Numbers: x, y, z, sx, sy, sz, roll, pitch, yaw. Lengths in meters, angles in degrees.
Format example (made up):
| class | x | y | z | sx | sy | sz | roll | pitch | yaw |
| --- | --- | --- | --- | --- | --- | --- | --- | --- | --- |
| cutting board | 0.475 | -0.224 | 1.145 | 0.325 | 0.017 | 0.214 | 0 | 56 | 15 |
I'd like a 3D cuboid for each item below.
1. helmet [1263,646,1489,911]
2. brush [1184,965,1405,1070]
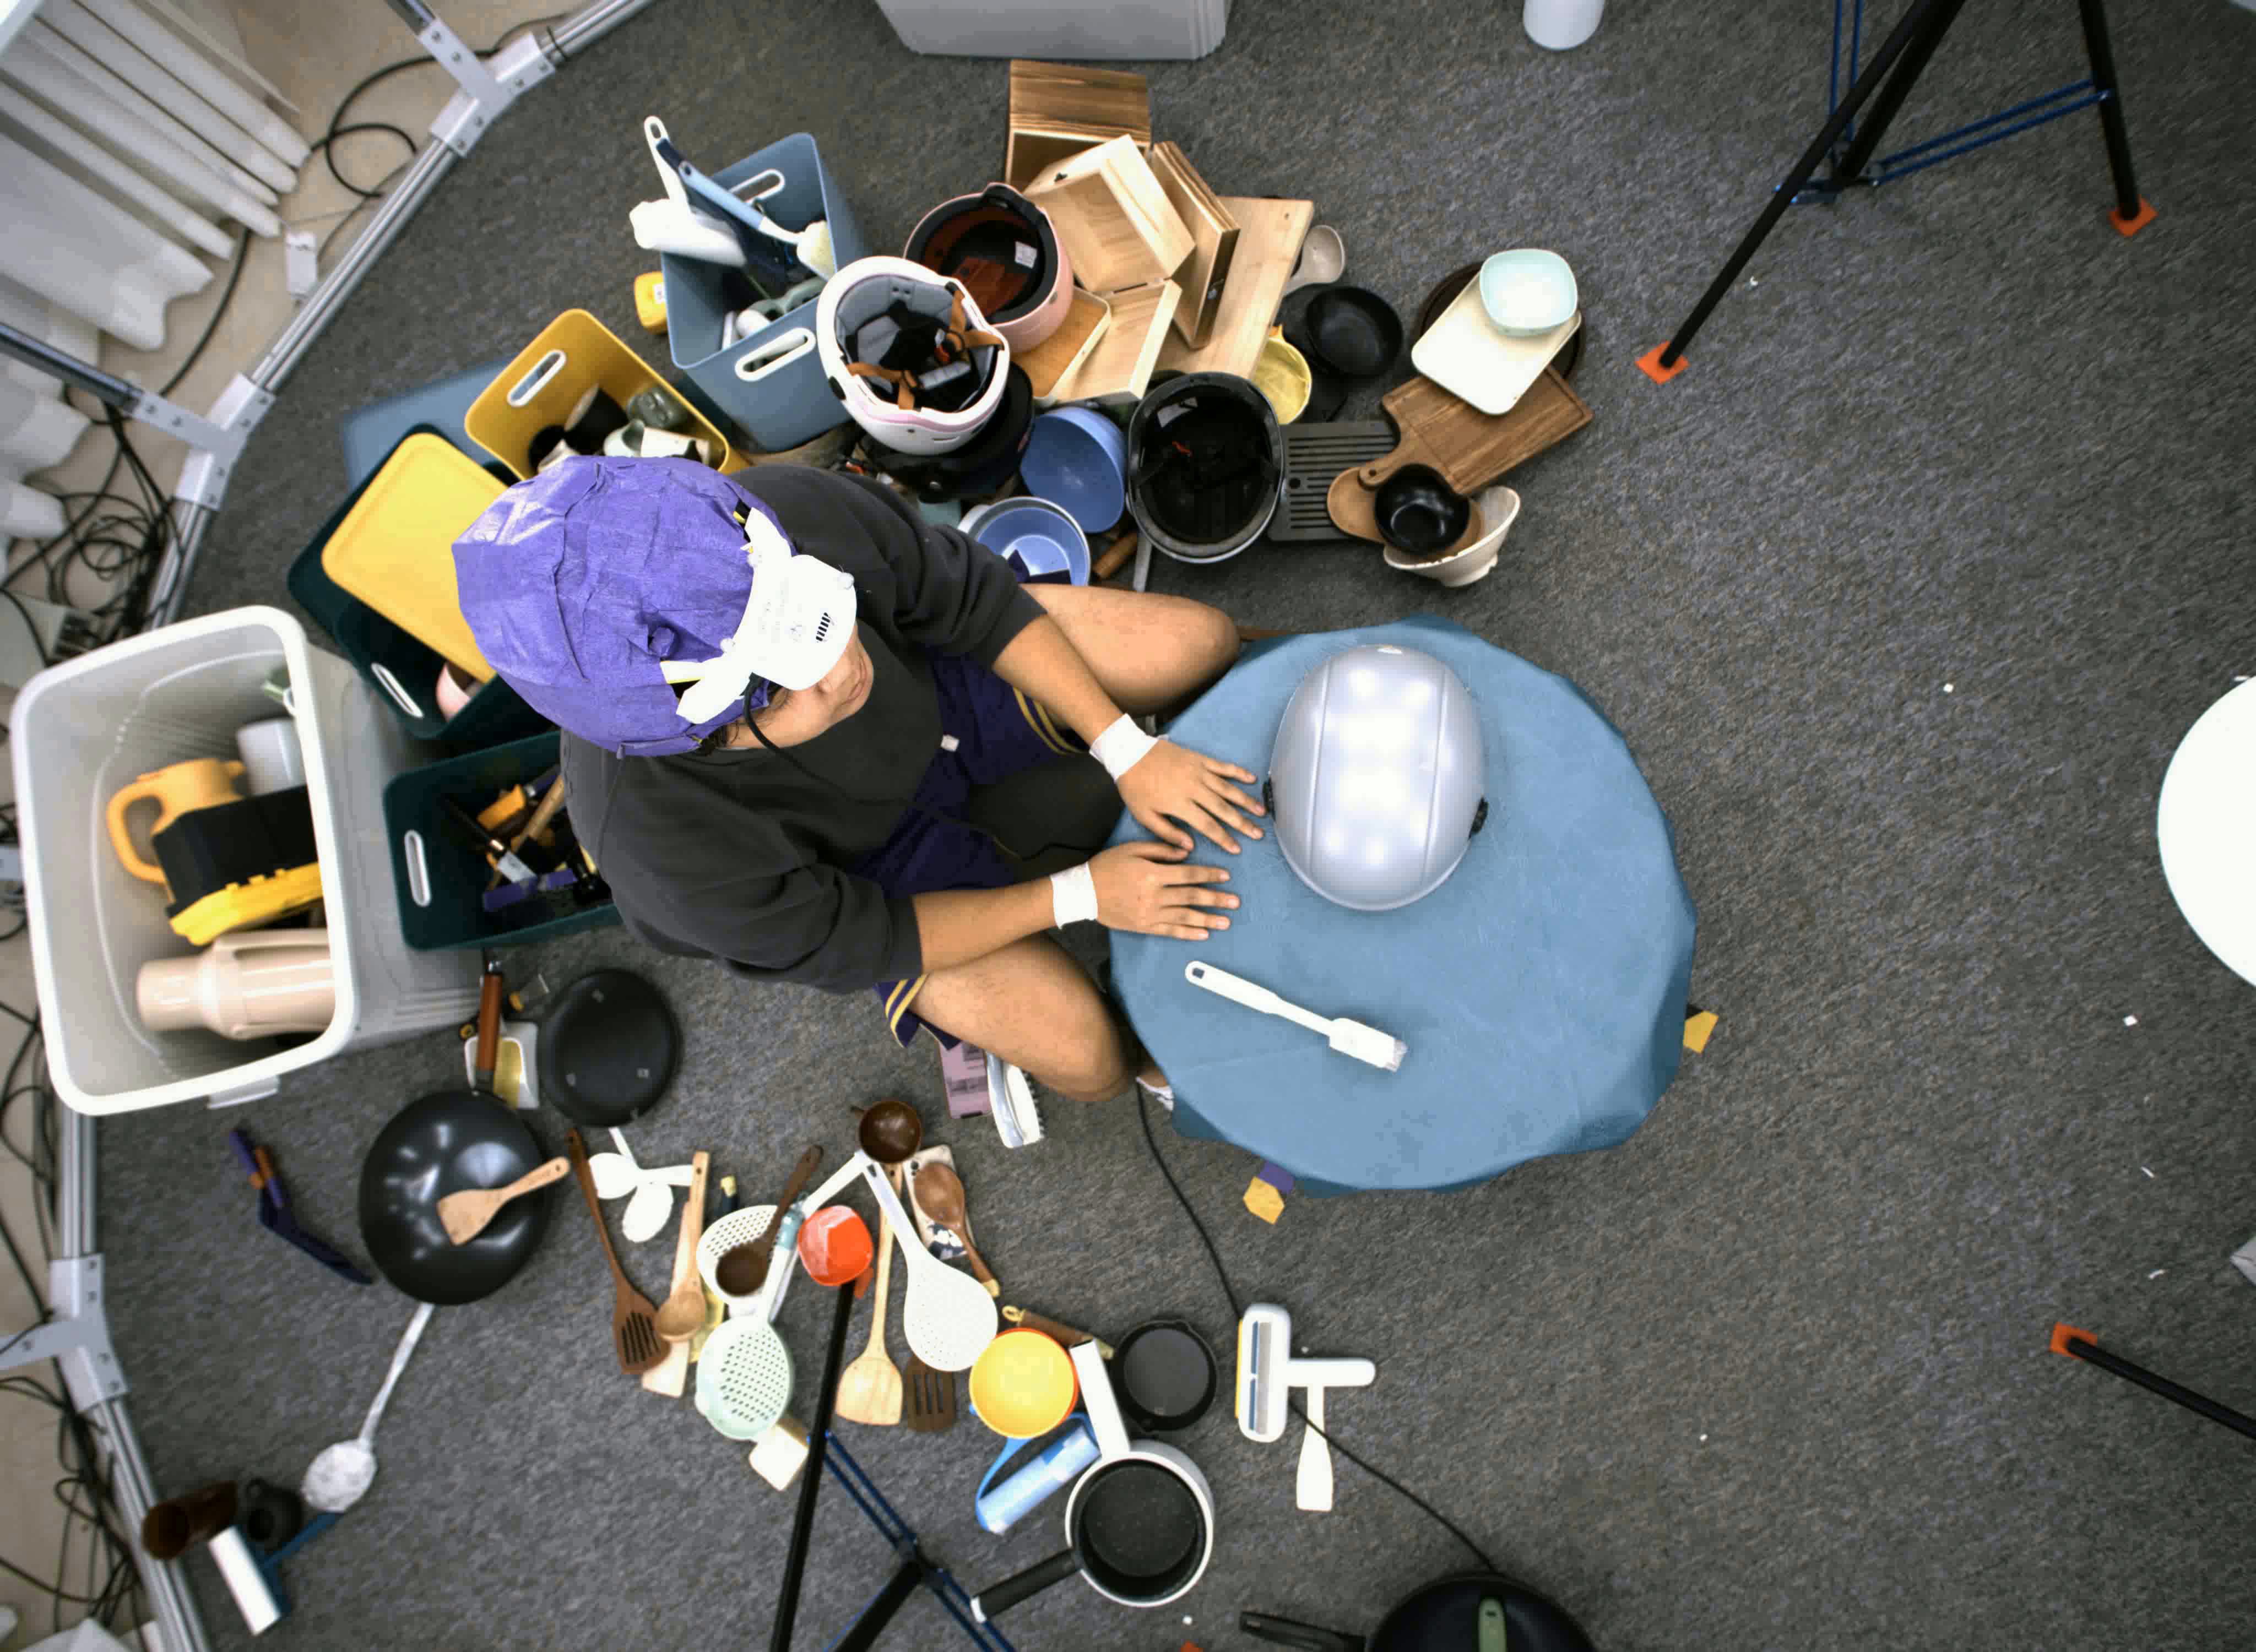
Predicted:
| class | x | y | z | sx | sy | sz | roll | pitch | yaw |
| --- | --- | --- | --- | --- | --- | --- | --- | --- | --- |
| helmet | 0.251 | -0.054 | 1.387 | 0.233 | 0.168 | 0.276 | 6 | 89 | 11 |
| brush | 0.173 | 0.197 | 1.459 | 0.243 | 0.050 | 0.034 | 19 | 85 | 24 |
